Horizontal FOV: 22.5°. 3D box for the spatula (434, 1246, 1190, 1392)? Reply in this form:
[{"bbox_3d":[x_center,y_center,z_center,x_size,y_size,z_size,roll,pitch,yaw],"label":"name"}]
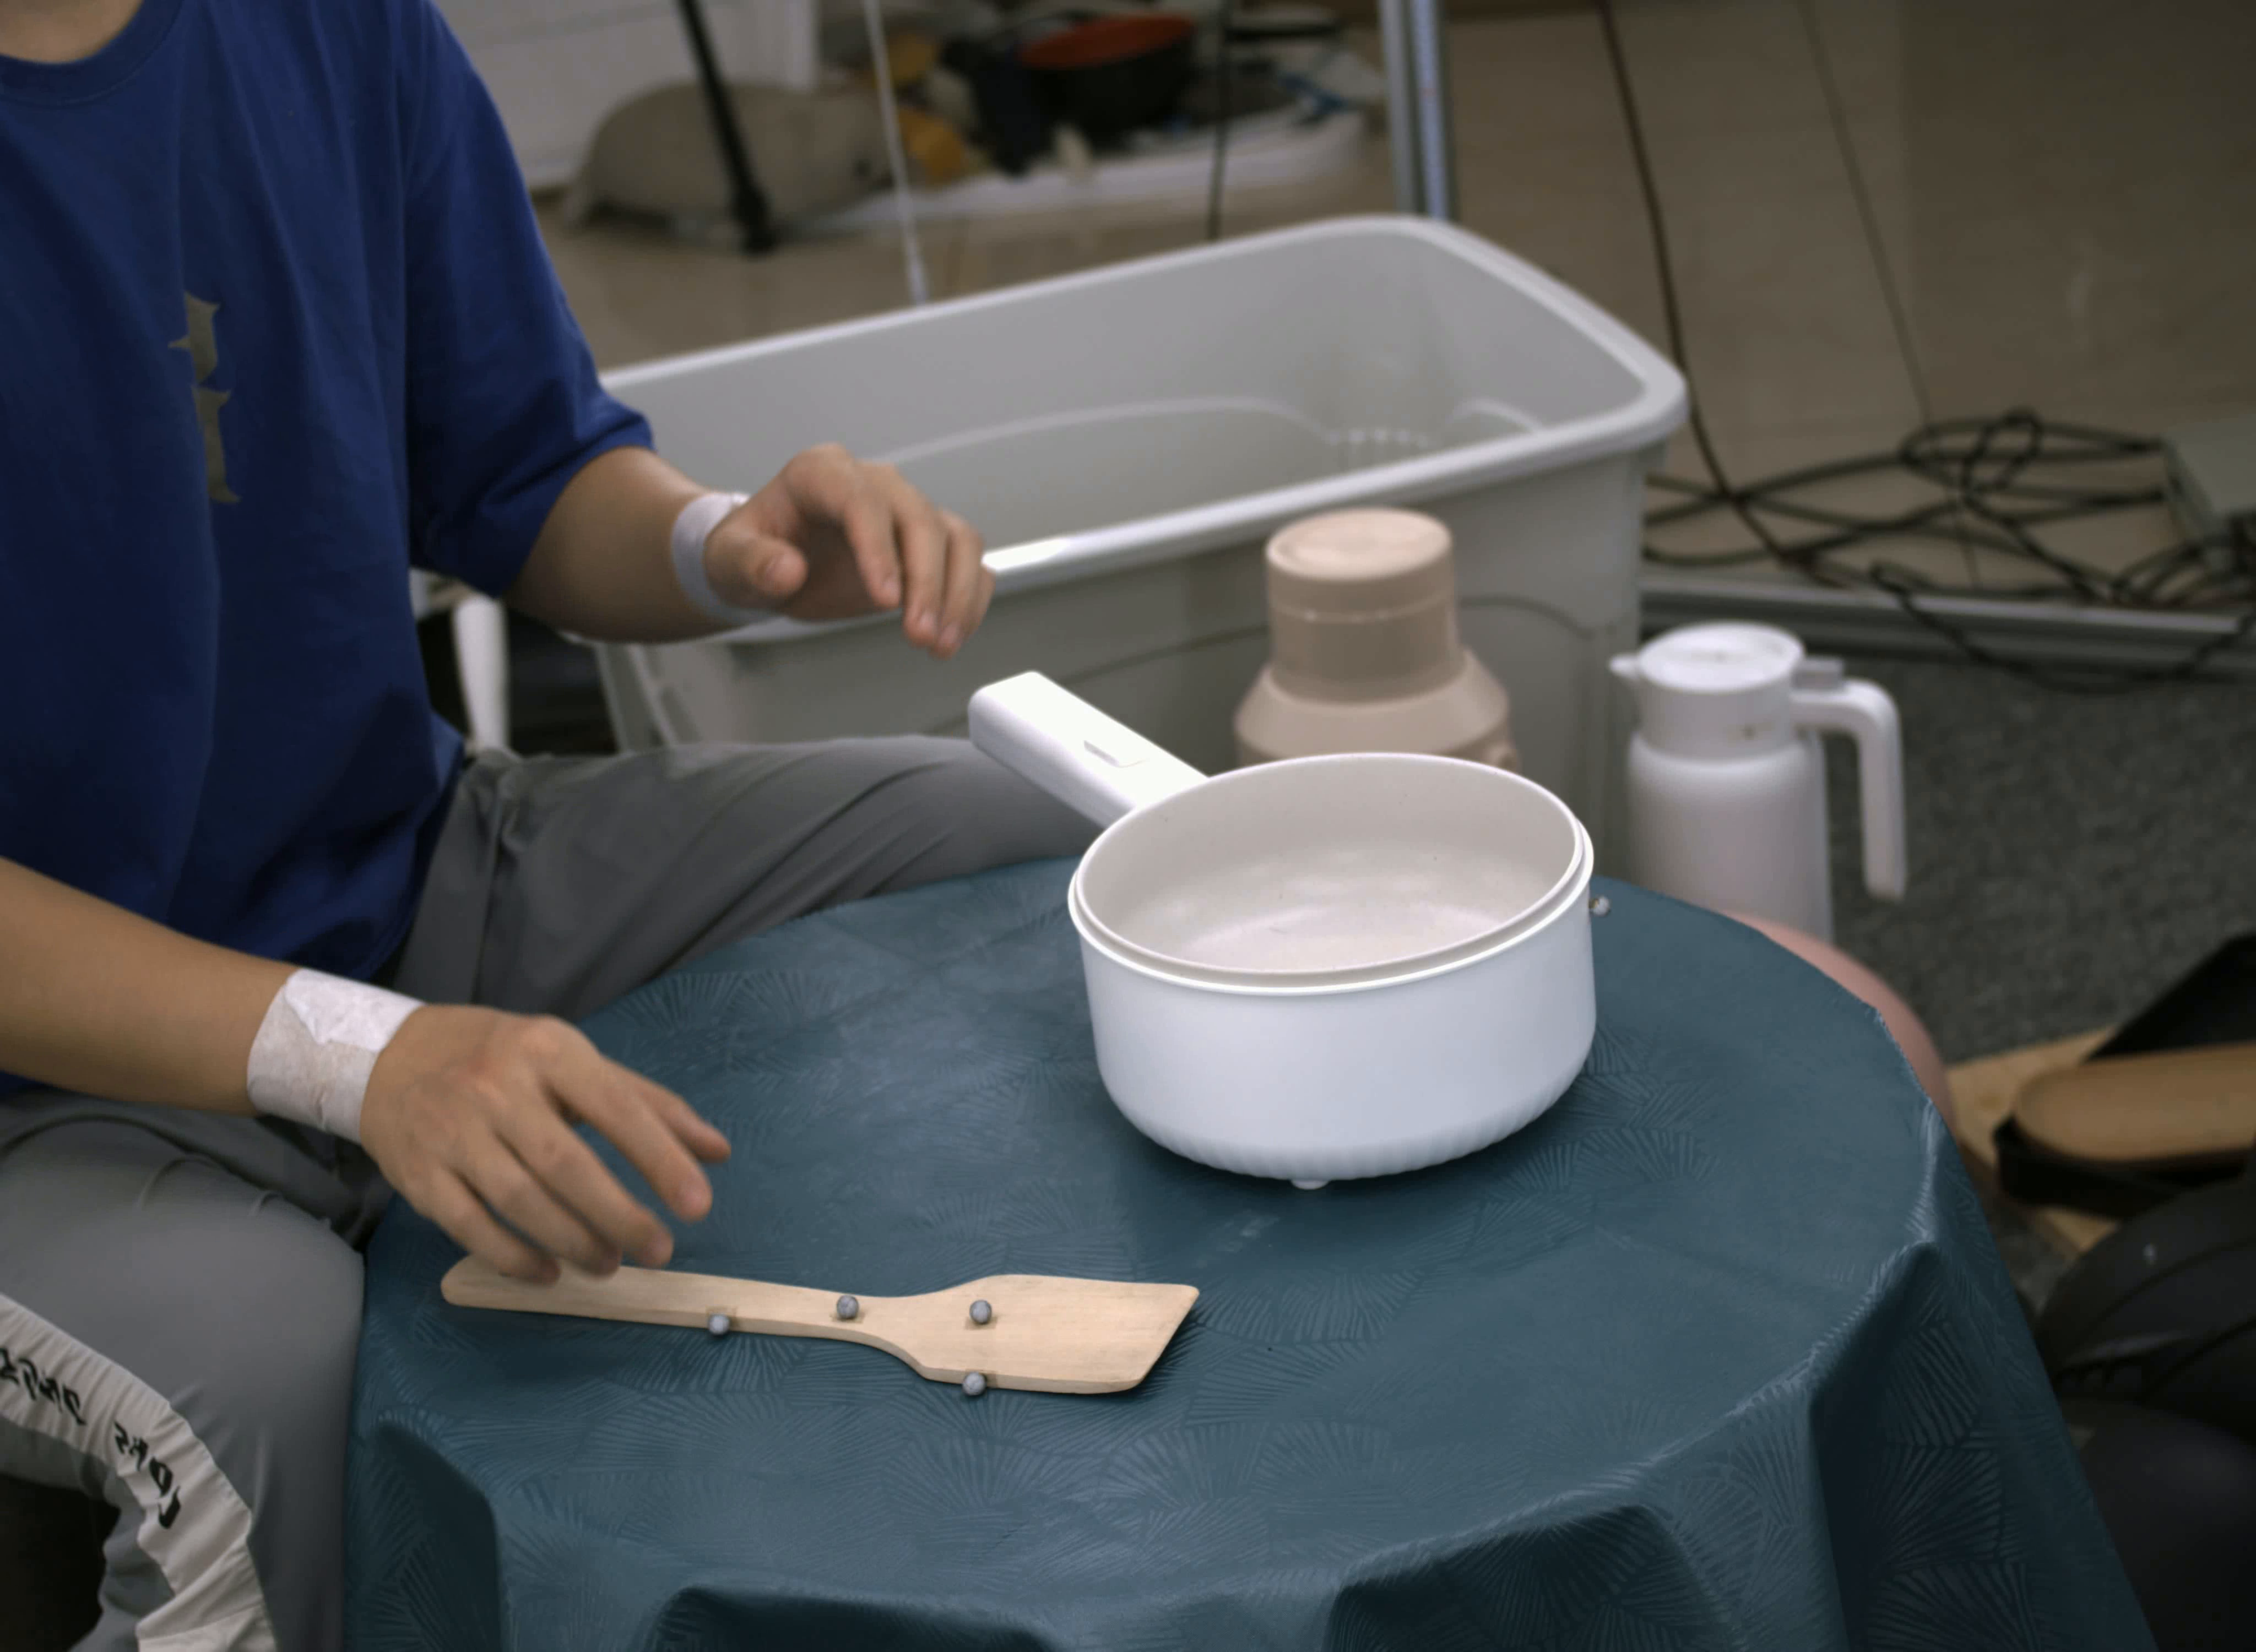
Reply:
[{"bbox_3d":[-0.123,0.177,2.085,0.292,0.011,0.071,4,28,21],"label":"spatula"}]

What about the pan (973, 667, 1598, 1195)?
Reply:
[{"bbox_3d":[0.043,0.035,2.242,0.200,0.104,0.351,-21,29,-24],"label":"pan"}]
